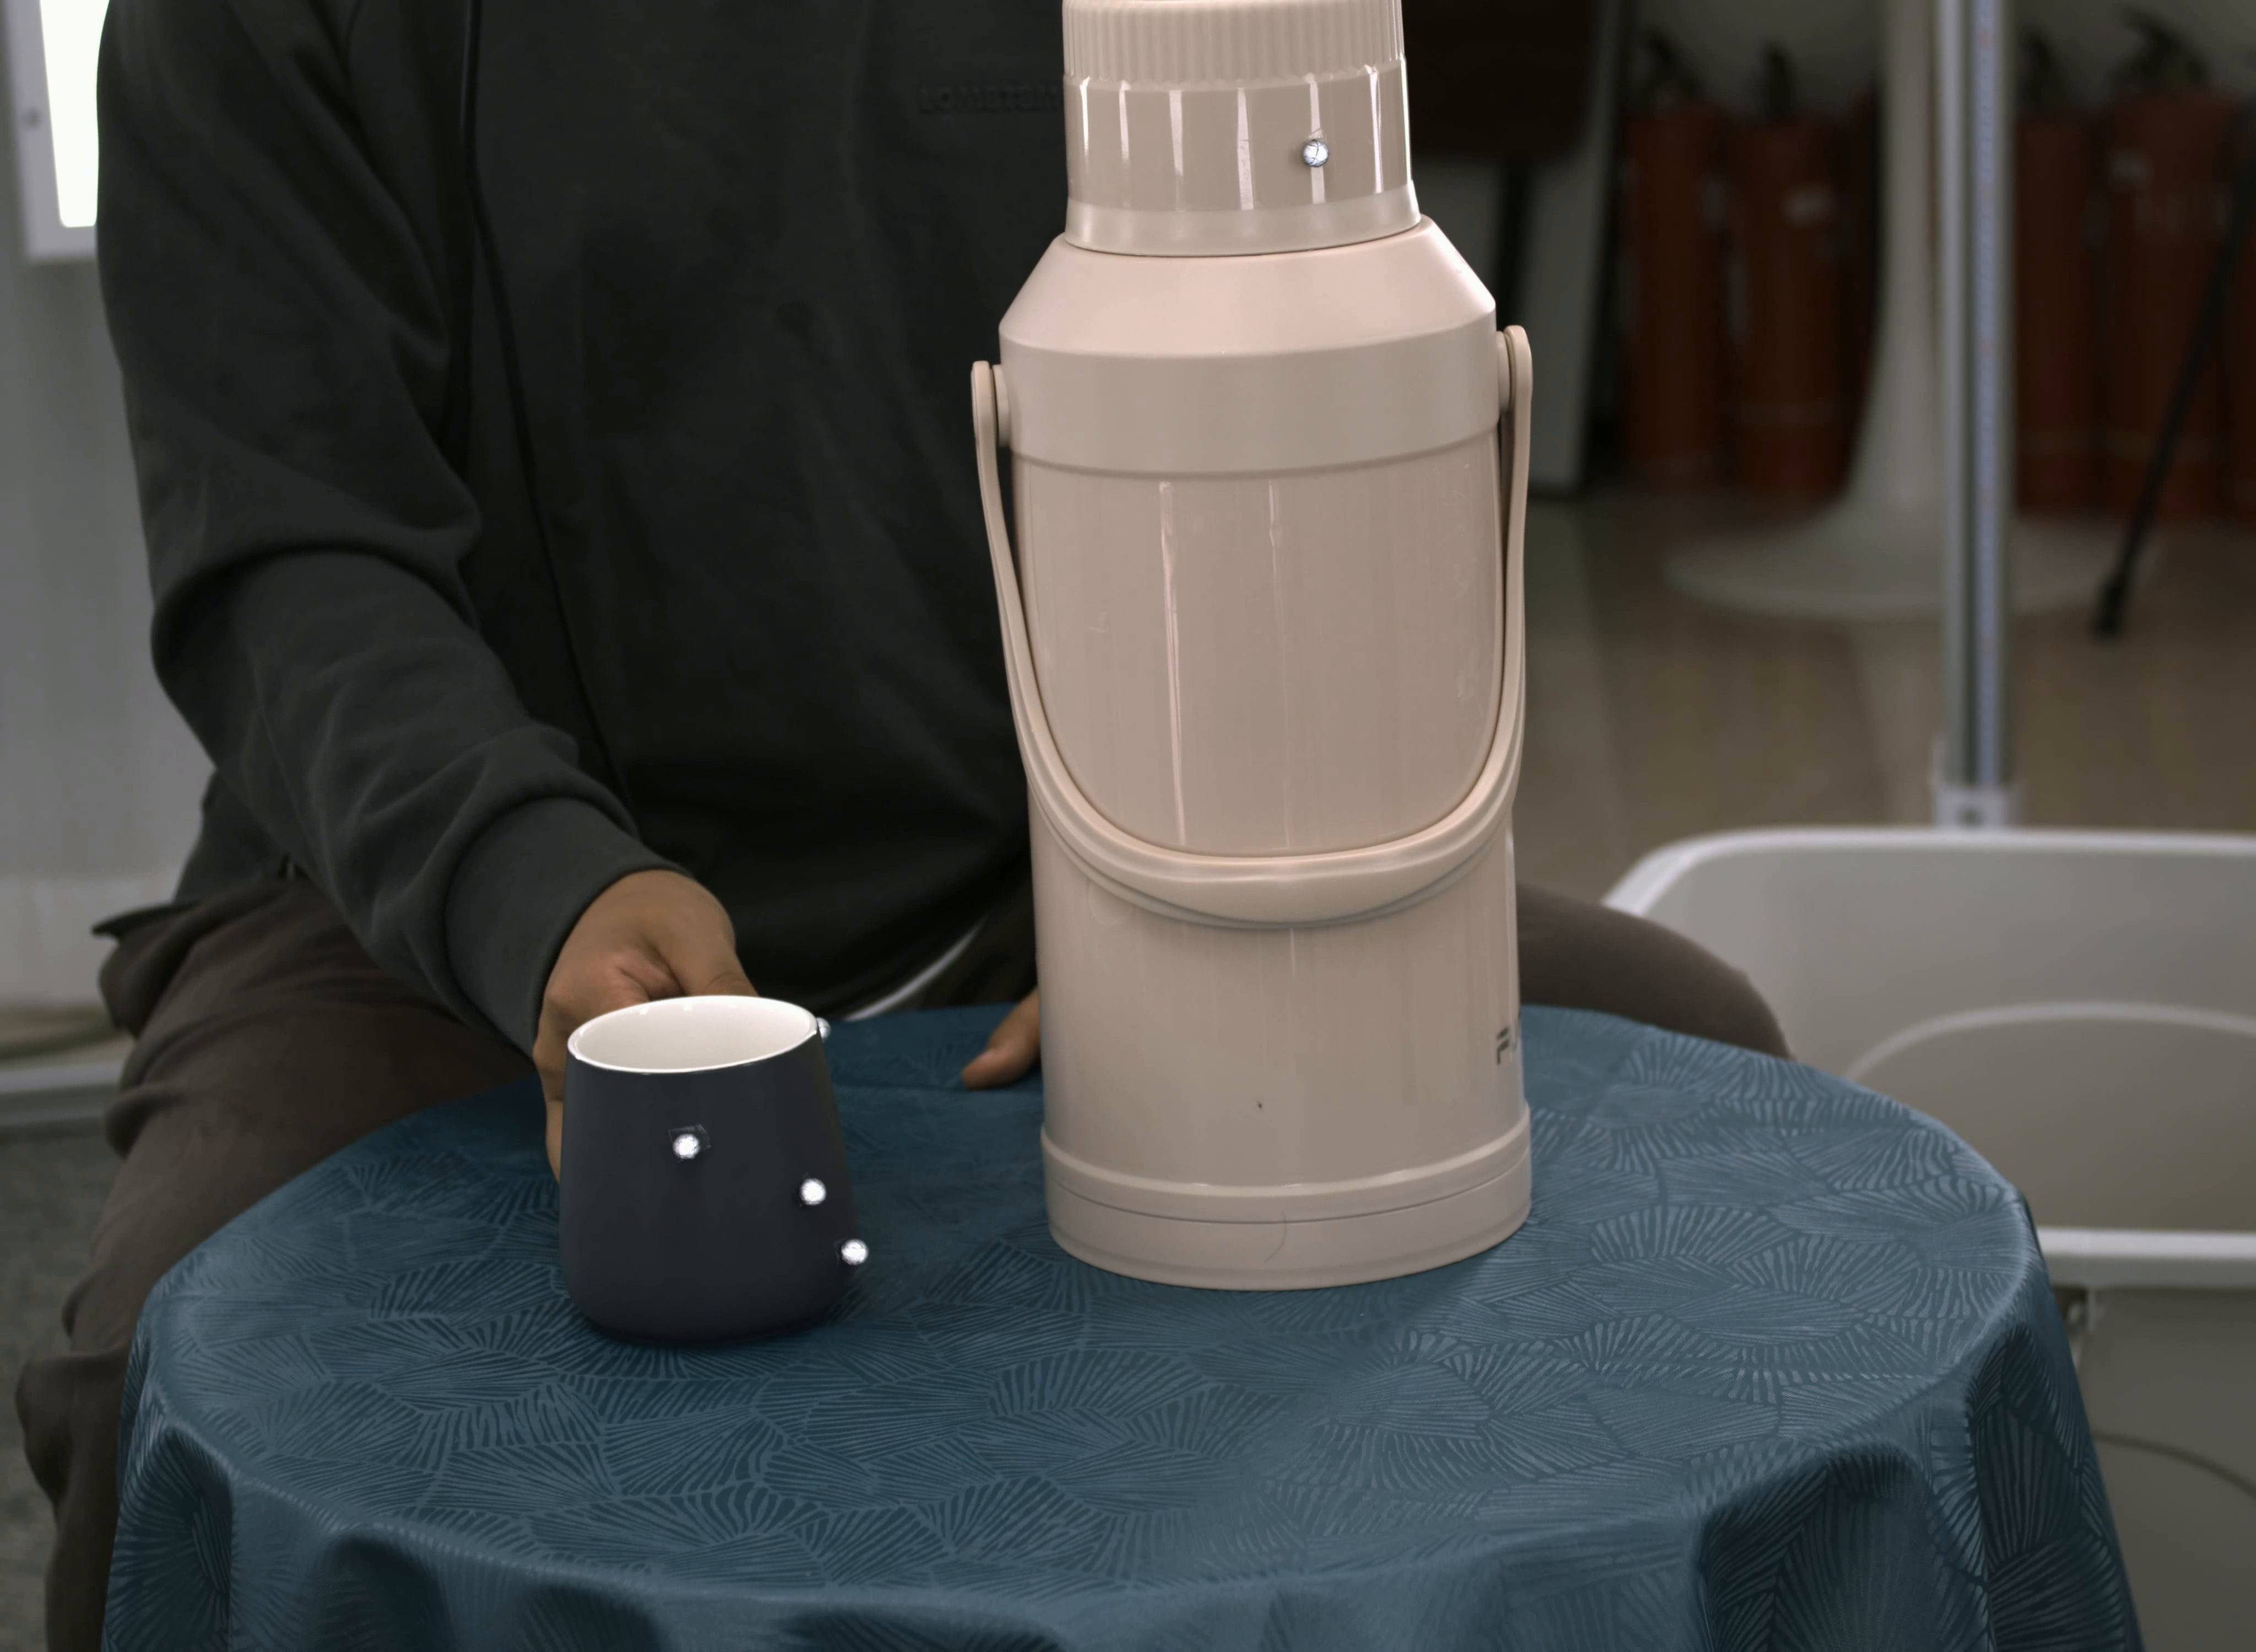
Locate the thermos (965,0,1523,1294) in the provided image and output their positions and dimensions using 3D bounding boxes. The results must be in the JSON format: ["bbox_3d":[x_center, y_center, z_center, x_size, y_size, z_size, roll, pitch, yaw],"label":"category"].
[{"bbox_3d":[0.039,-0.072,1.711,0.173,0.411,0.208,-5,14,-4],"label":"thermos"}]

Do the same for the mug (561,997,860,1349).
[{"bbox_3d":[-0.131,0.104,1.689,0.092,0.091,0.123,-3,14,1],"label":"mug"}]
